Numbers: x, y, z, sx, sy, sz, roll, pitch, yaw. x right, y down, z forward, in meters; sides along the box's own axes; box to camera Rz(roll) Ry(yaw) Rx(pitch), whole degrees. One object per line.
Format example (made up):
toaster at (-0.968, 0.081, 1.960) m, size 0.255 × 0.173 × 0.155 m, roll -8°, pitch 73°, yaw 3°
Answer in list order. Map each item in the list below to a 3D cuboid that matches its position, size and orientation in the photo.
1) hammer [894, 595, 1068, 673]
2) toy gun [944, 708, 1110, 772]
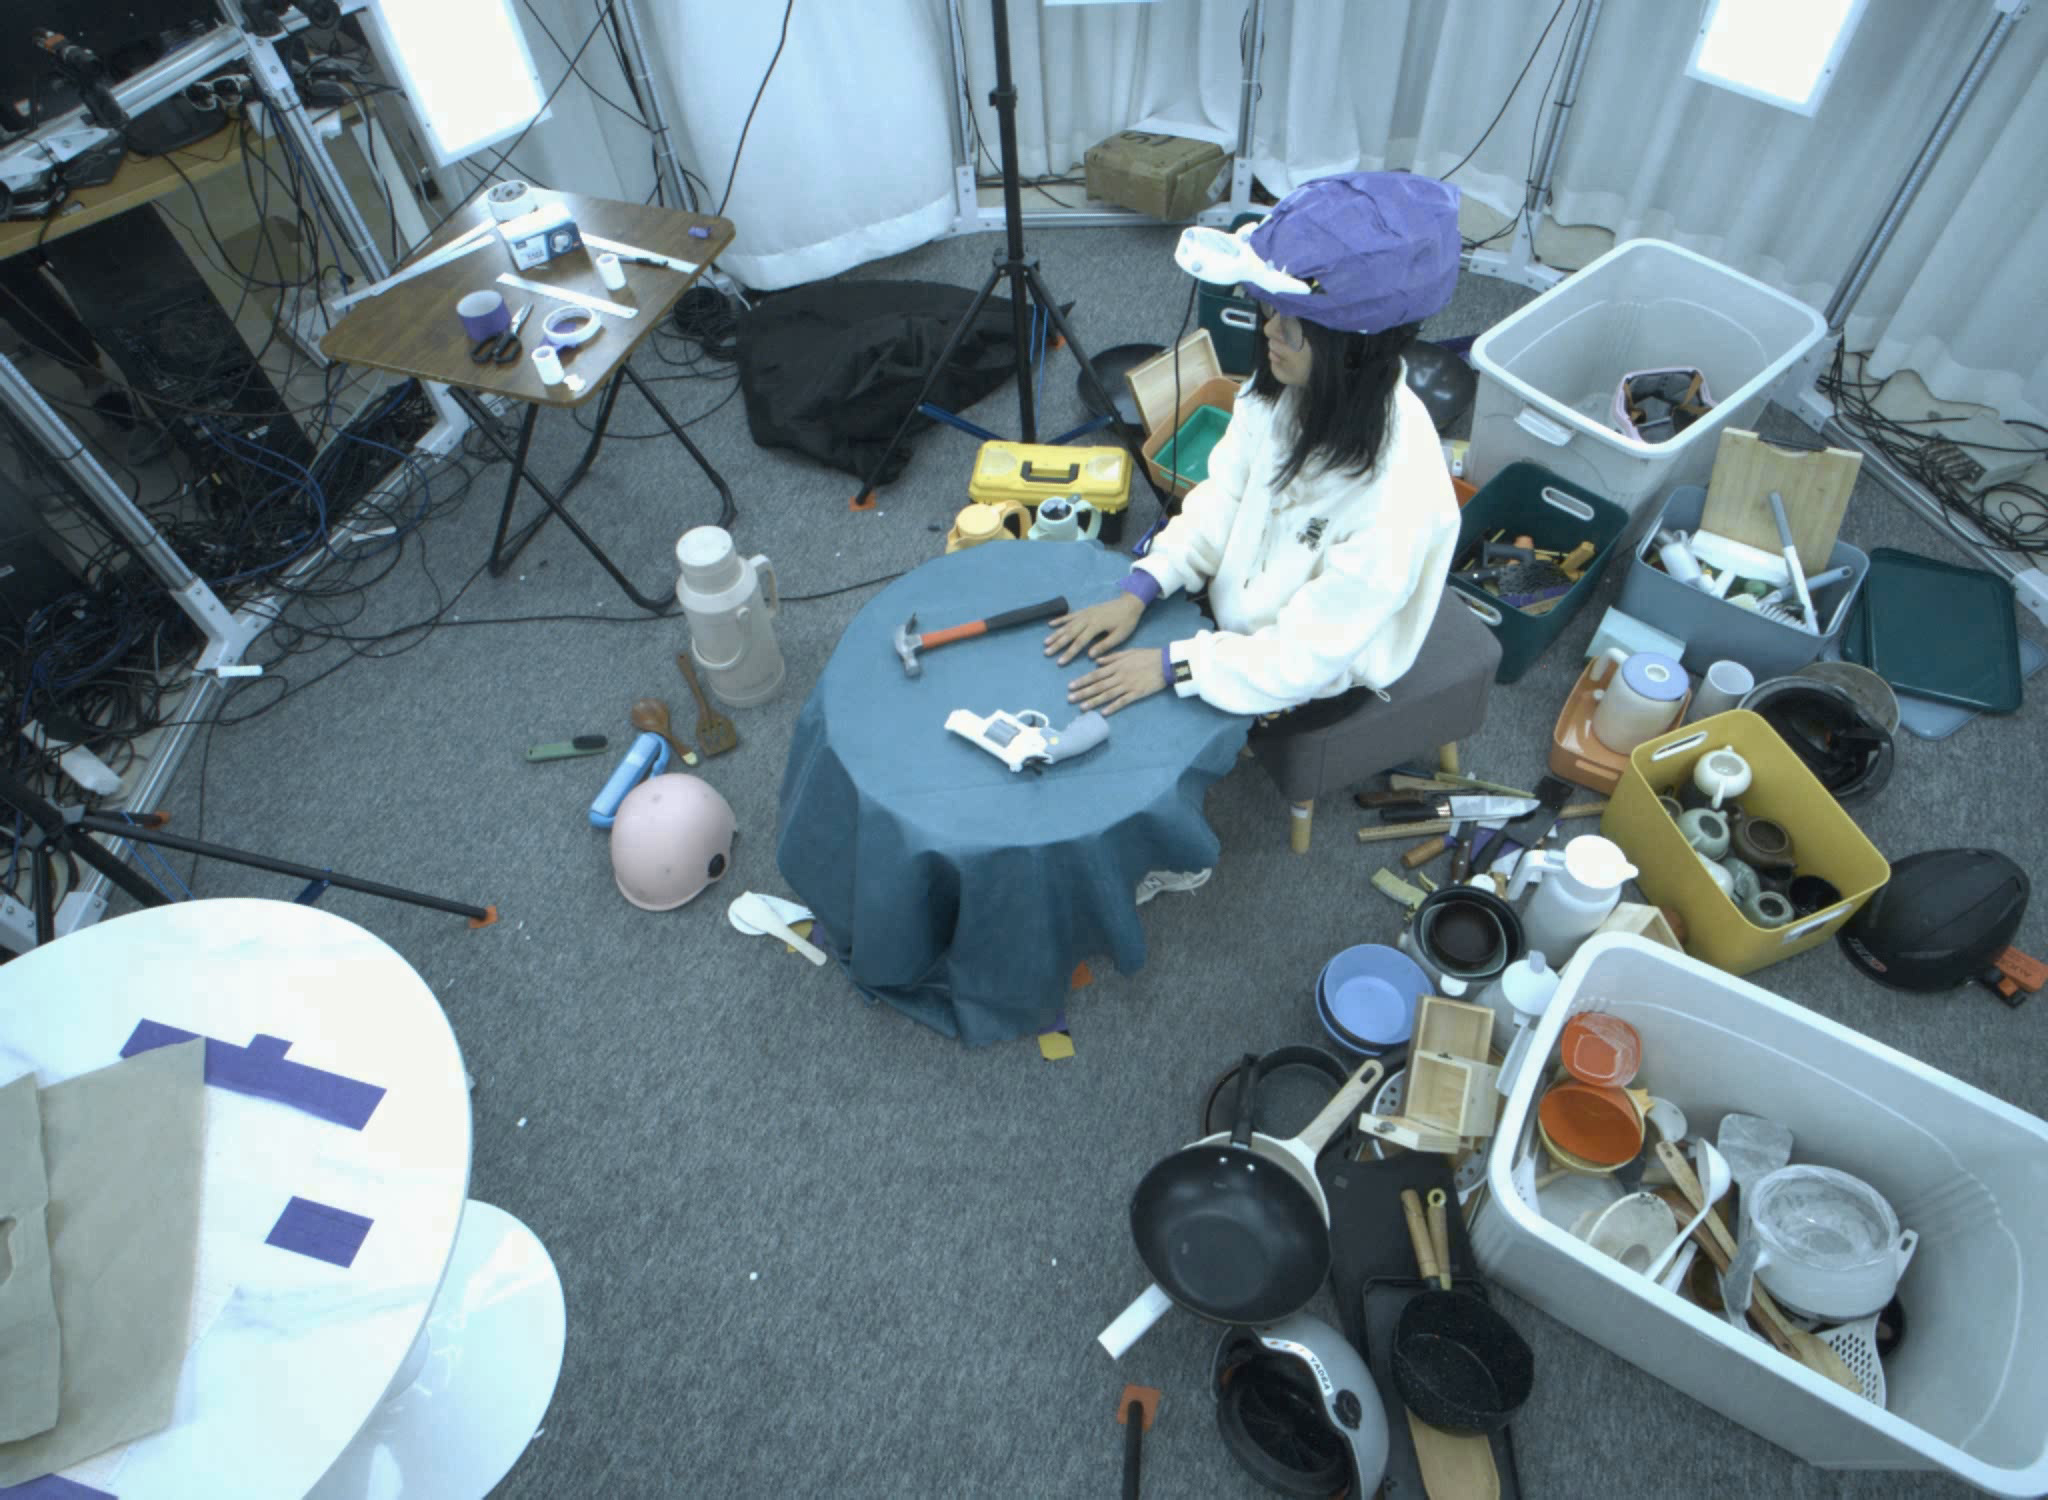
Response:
hammer at (-0.067, -0.196, 1.911) m, size 0.279 × 0.026 × 0.108 m, roll -16°, pitch 47°, yaw -9°
toy gun at (0.005, -0.034, 1.787) m, size 0.206 × 0.039 × 0.142 m, roll 29°, pitch 62°, yaw 20°
